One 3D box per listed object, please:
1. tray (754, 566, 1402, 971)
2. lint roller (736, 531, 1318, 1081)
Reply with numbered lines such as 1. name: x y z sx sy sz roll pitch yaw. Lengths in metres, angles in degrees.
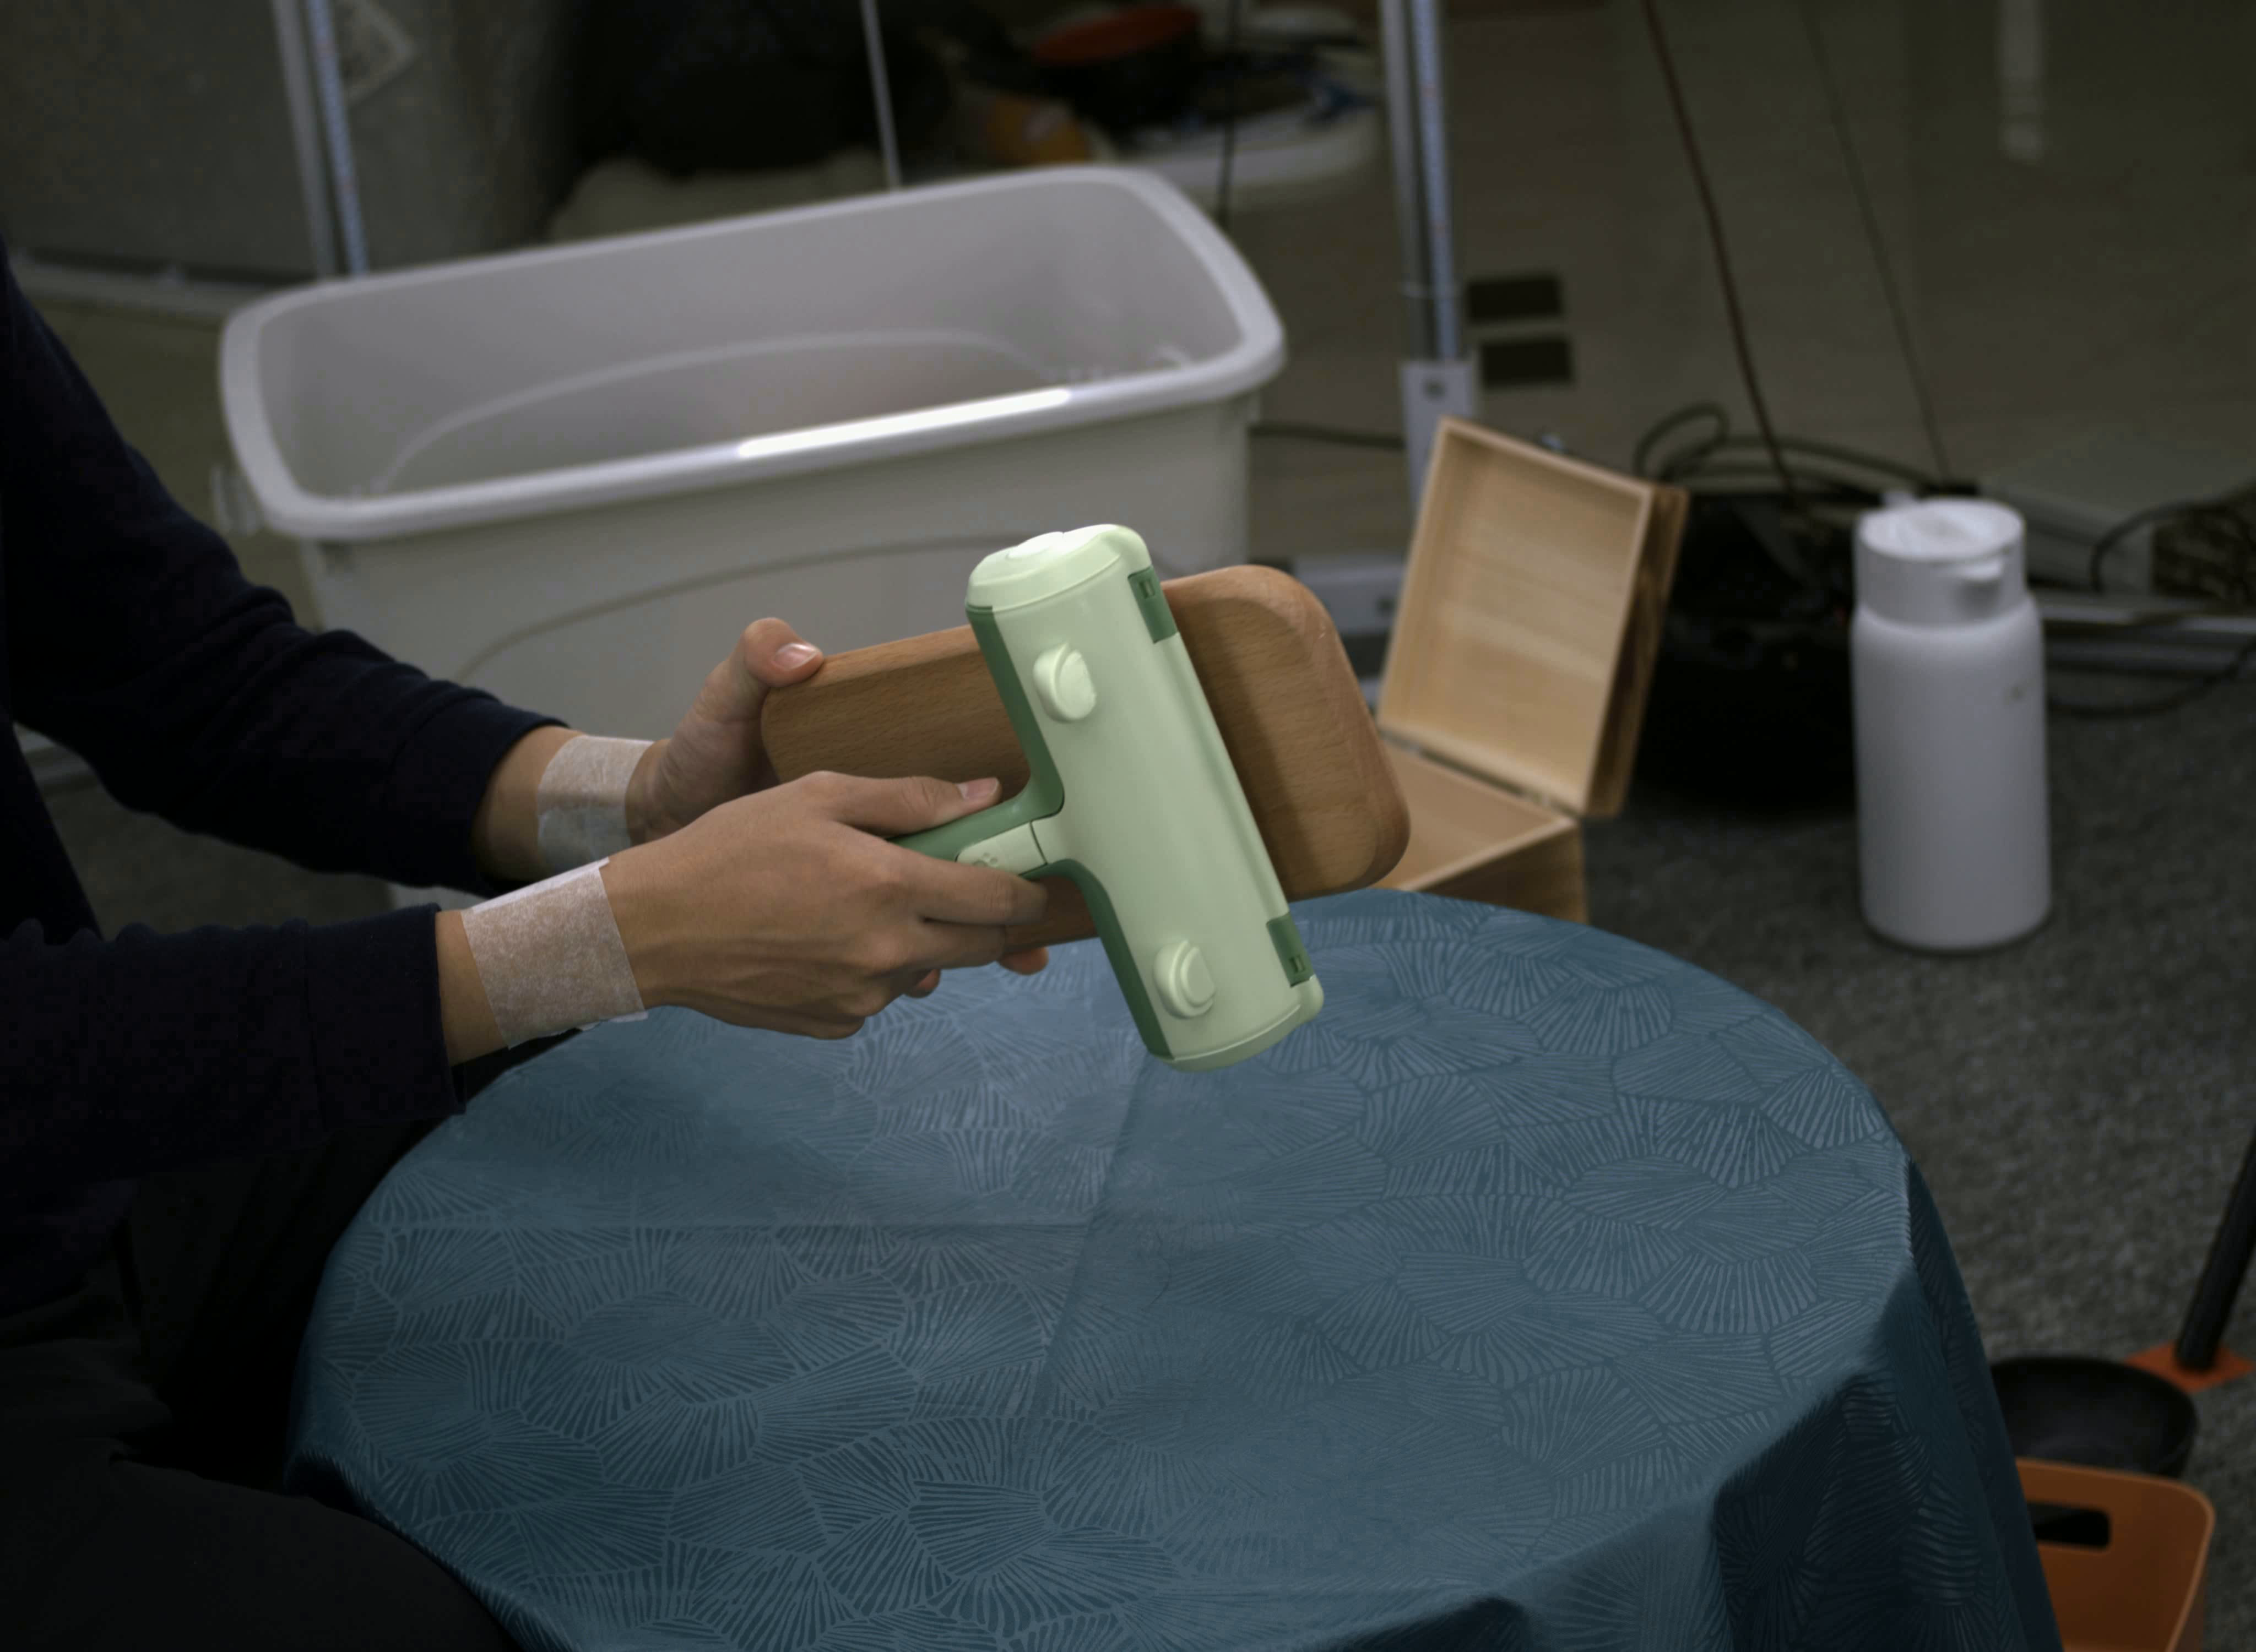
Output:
1. tray: -0.022 -0.017 2.038 0.251 0.132 0.022 -11 20 35
2. lint roller: -0.050 0.018 1.975 0.183 0.201 0.081 -23 18 -2
